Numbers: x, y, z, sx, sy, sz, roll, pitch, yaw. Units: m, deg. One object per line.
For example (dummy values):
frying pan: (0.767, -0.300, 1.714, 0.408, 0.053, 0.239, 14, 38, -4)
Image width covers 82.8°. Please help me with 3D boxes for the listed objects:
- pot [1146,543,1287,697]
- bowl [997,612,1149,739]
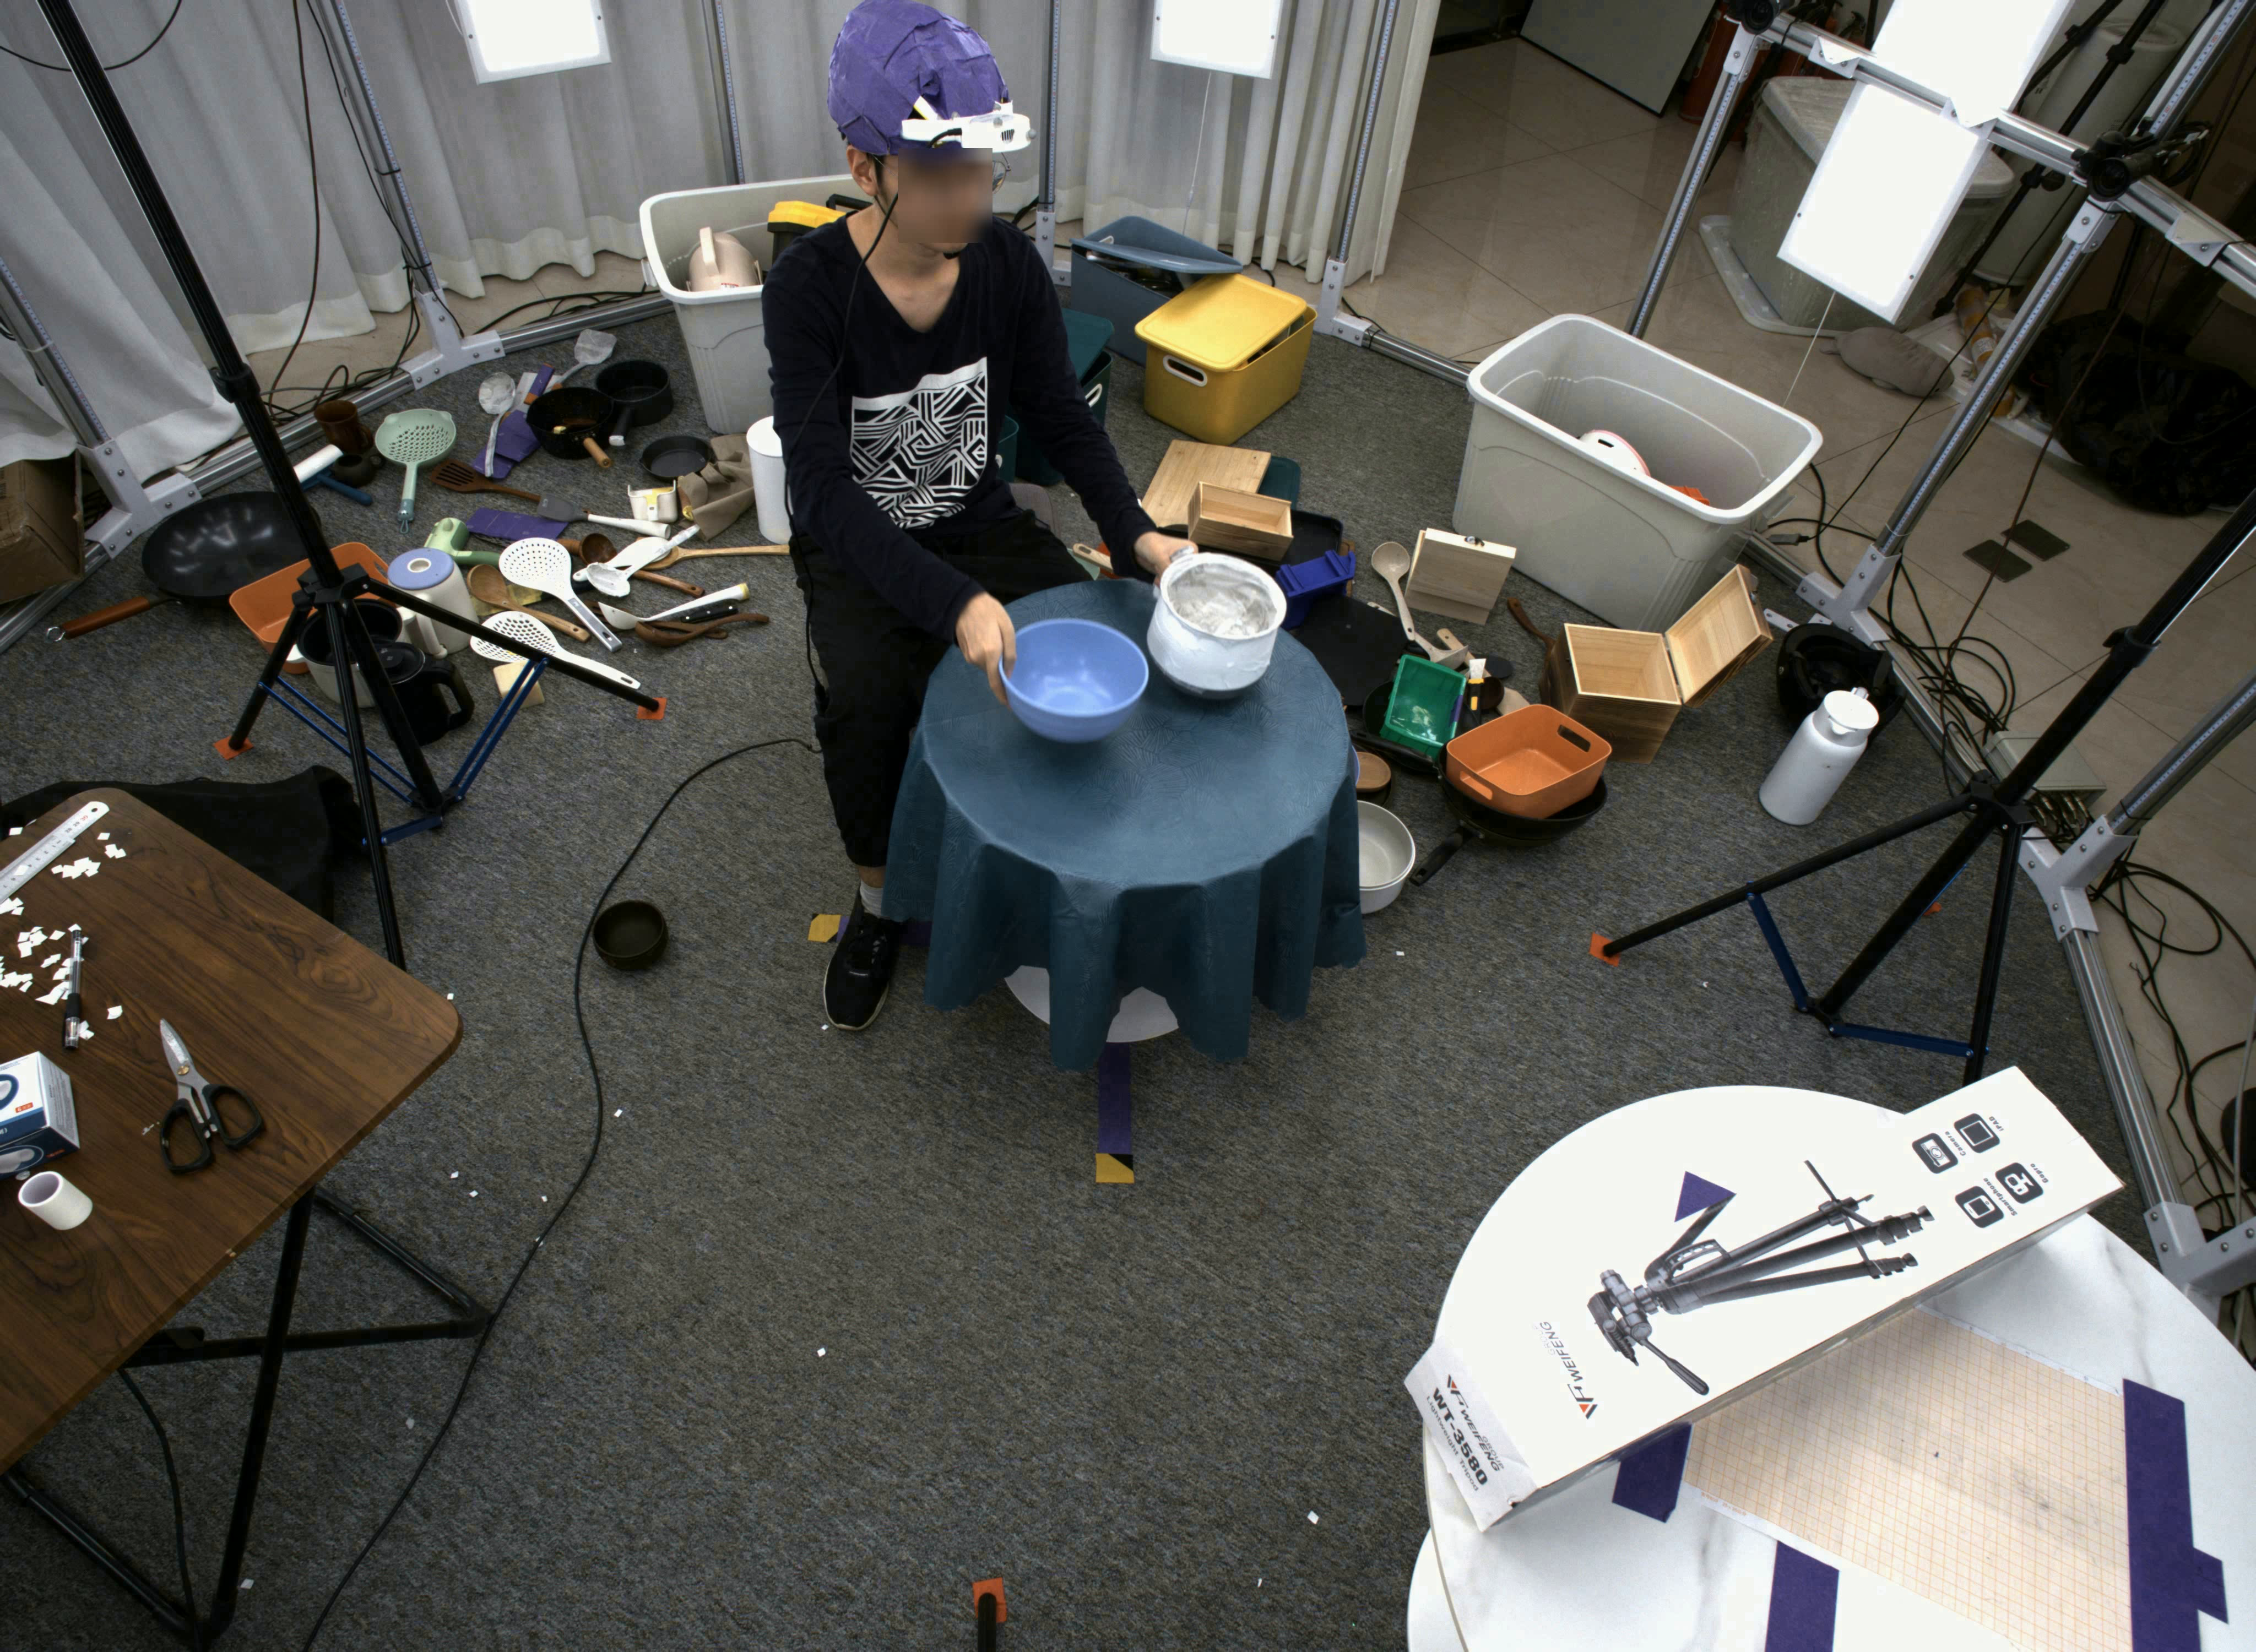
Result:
pot: (0.106, -0.299, 1.815, 0.179, 0.133, 0.238, -15, 54, -26)
bowl: (-0.075, -0.184, 1.696, 0.196, 0.093, 0.201, 3, 49, -4)
